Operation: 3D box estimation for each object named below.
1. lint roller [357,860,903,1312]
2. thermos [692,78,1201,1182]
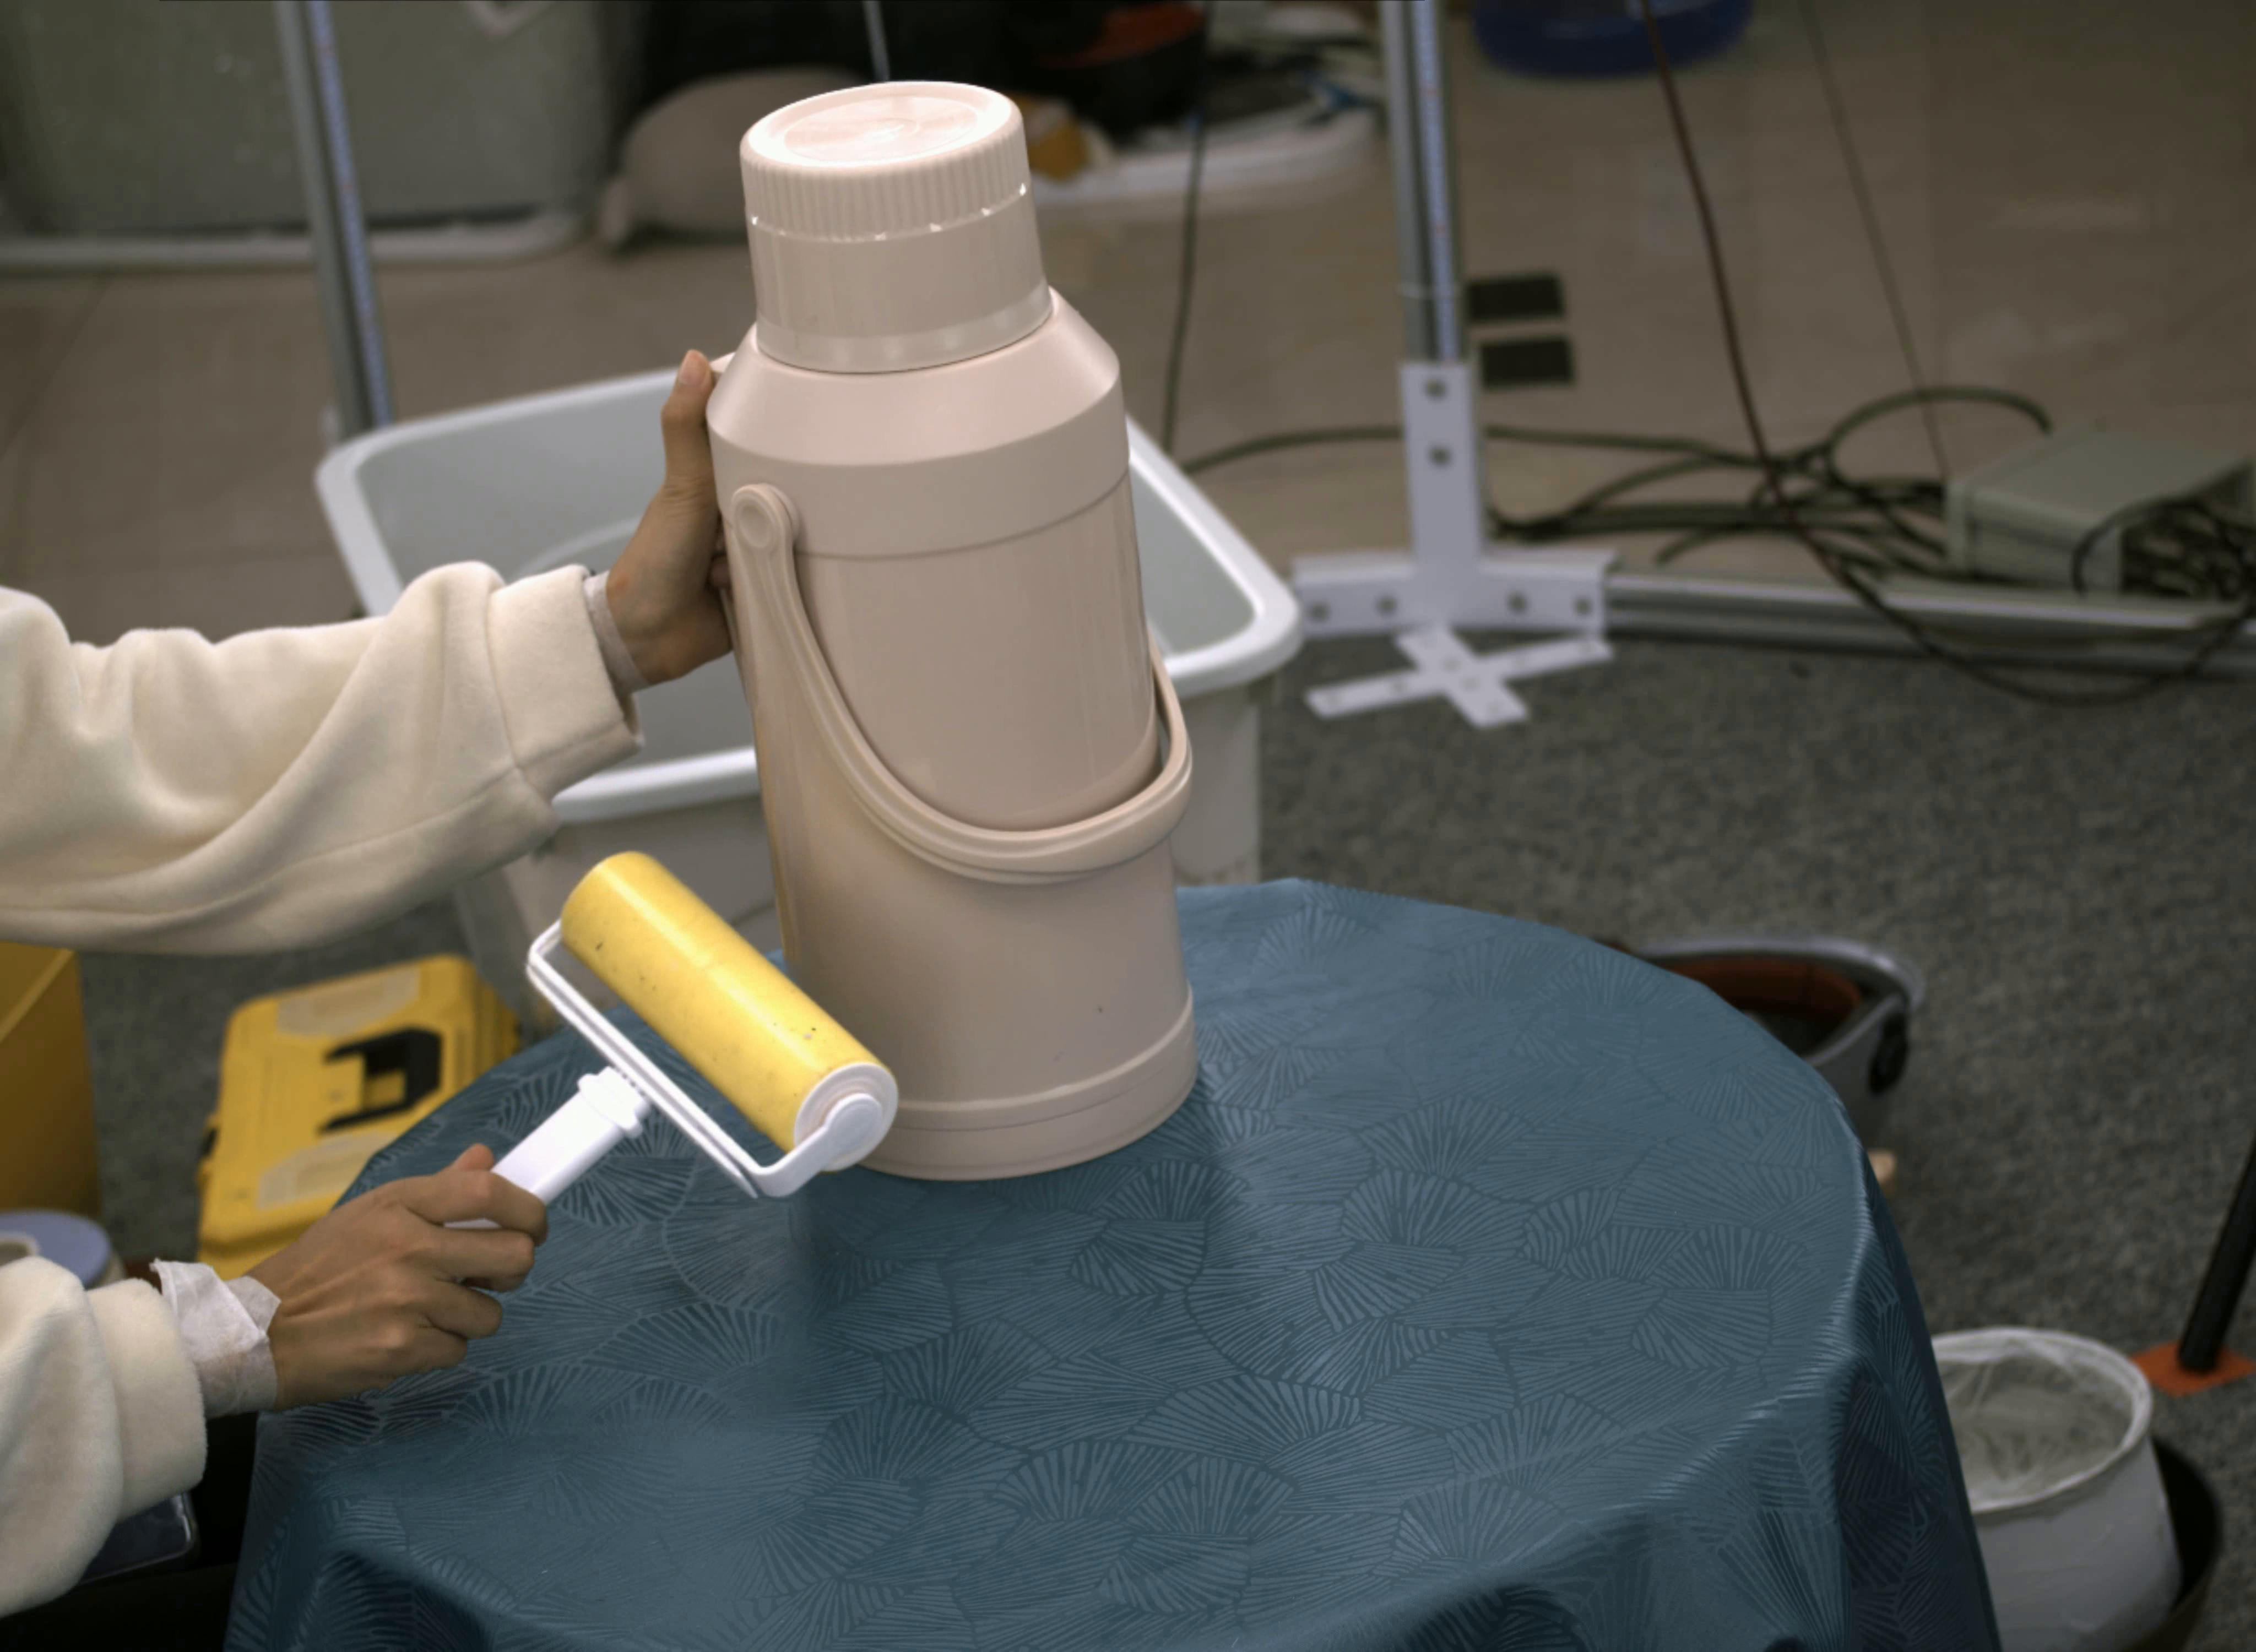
[{"bbox_3d":[-0.202,0.106,2.051,0.190,0.052,0.172,-33,44,-21],"label":"lint roller"},{"bbox_3d":[-0.079,-0.079,2.158,0.205,0.413,0.173,17,35,40],"label":"thermos"}]
